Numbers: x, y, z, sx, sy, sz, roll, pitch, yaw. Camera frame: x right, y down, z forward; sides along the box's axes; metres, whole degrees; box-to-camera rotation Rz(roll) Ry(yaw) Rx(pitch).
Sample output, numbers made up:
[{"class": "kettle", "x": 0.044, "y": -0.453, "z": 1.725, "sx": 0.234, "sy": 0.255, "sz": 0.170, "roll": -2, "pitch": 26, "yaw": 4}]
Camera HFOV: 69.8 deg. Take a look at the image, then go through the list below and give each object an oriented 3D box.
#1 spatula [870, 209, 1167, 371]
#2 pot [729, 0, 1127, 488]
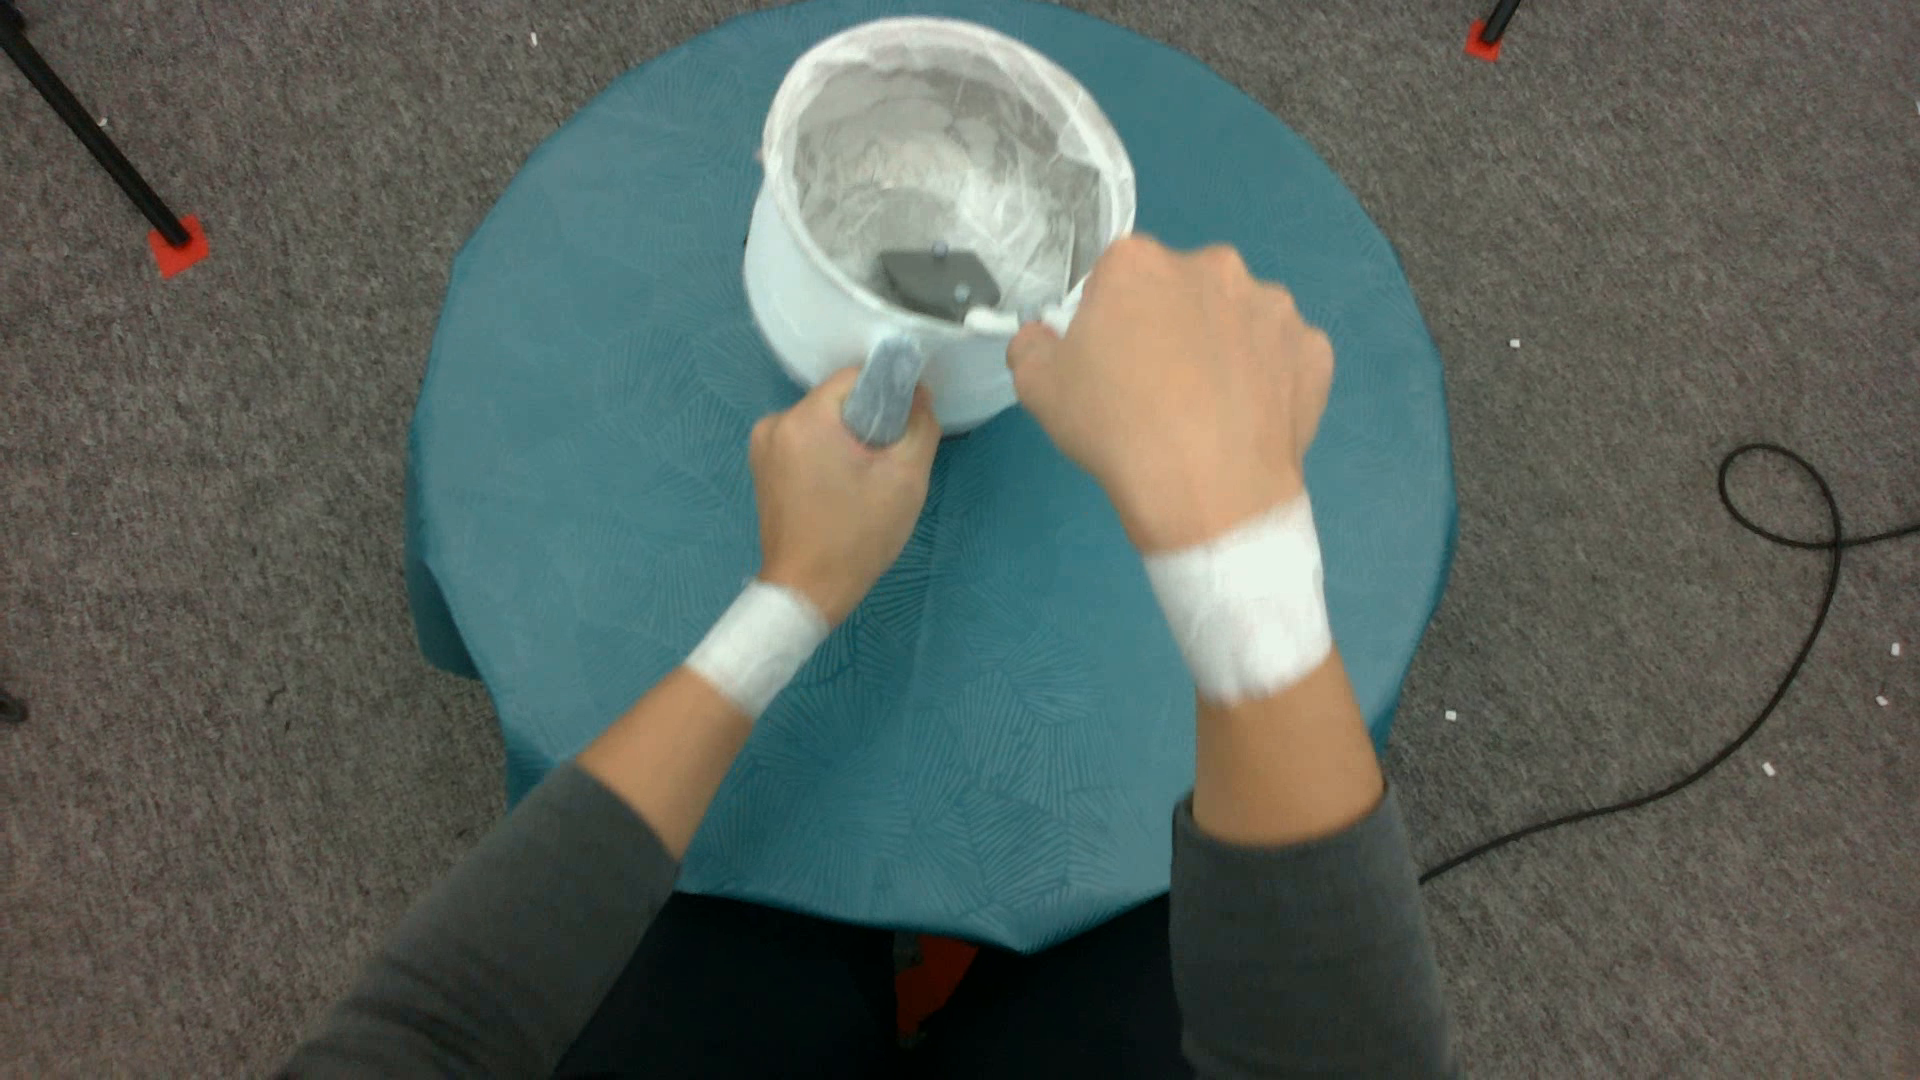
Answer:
[{"class": "spatula", "x": 0.016, "y": -0.118, "z": 0.595, "sx": 0.059, "sy": 0.288, "sz": 0.032, "roll": -5, "pitch": 110, "yaw": -15}, {"class": "pot", "x": -0.028, "y": -0.144, "z": 0.684, "sx": 0.179, "sy": 0.136, "sz": 0.234, "roll": 18, "pitch": 65, "yaw": -9}]
